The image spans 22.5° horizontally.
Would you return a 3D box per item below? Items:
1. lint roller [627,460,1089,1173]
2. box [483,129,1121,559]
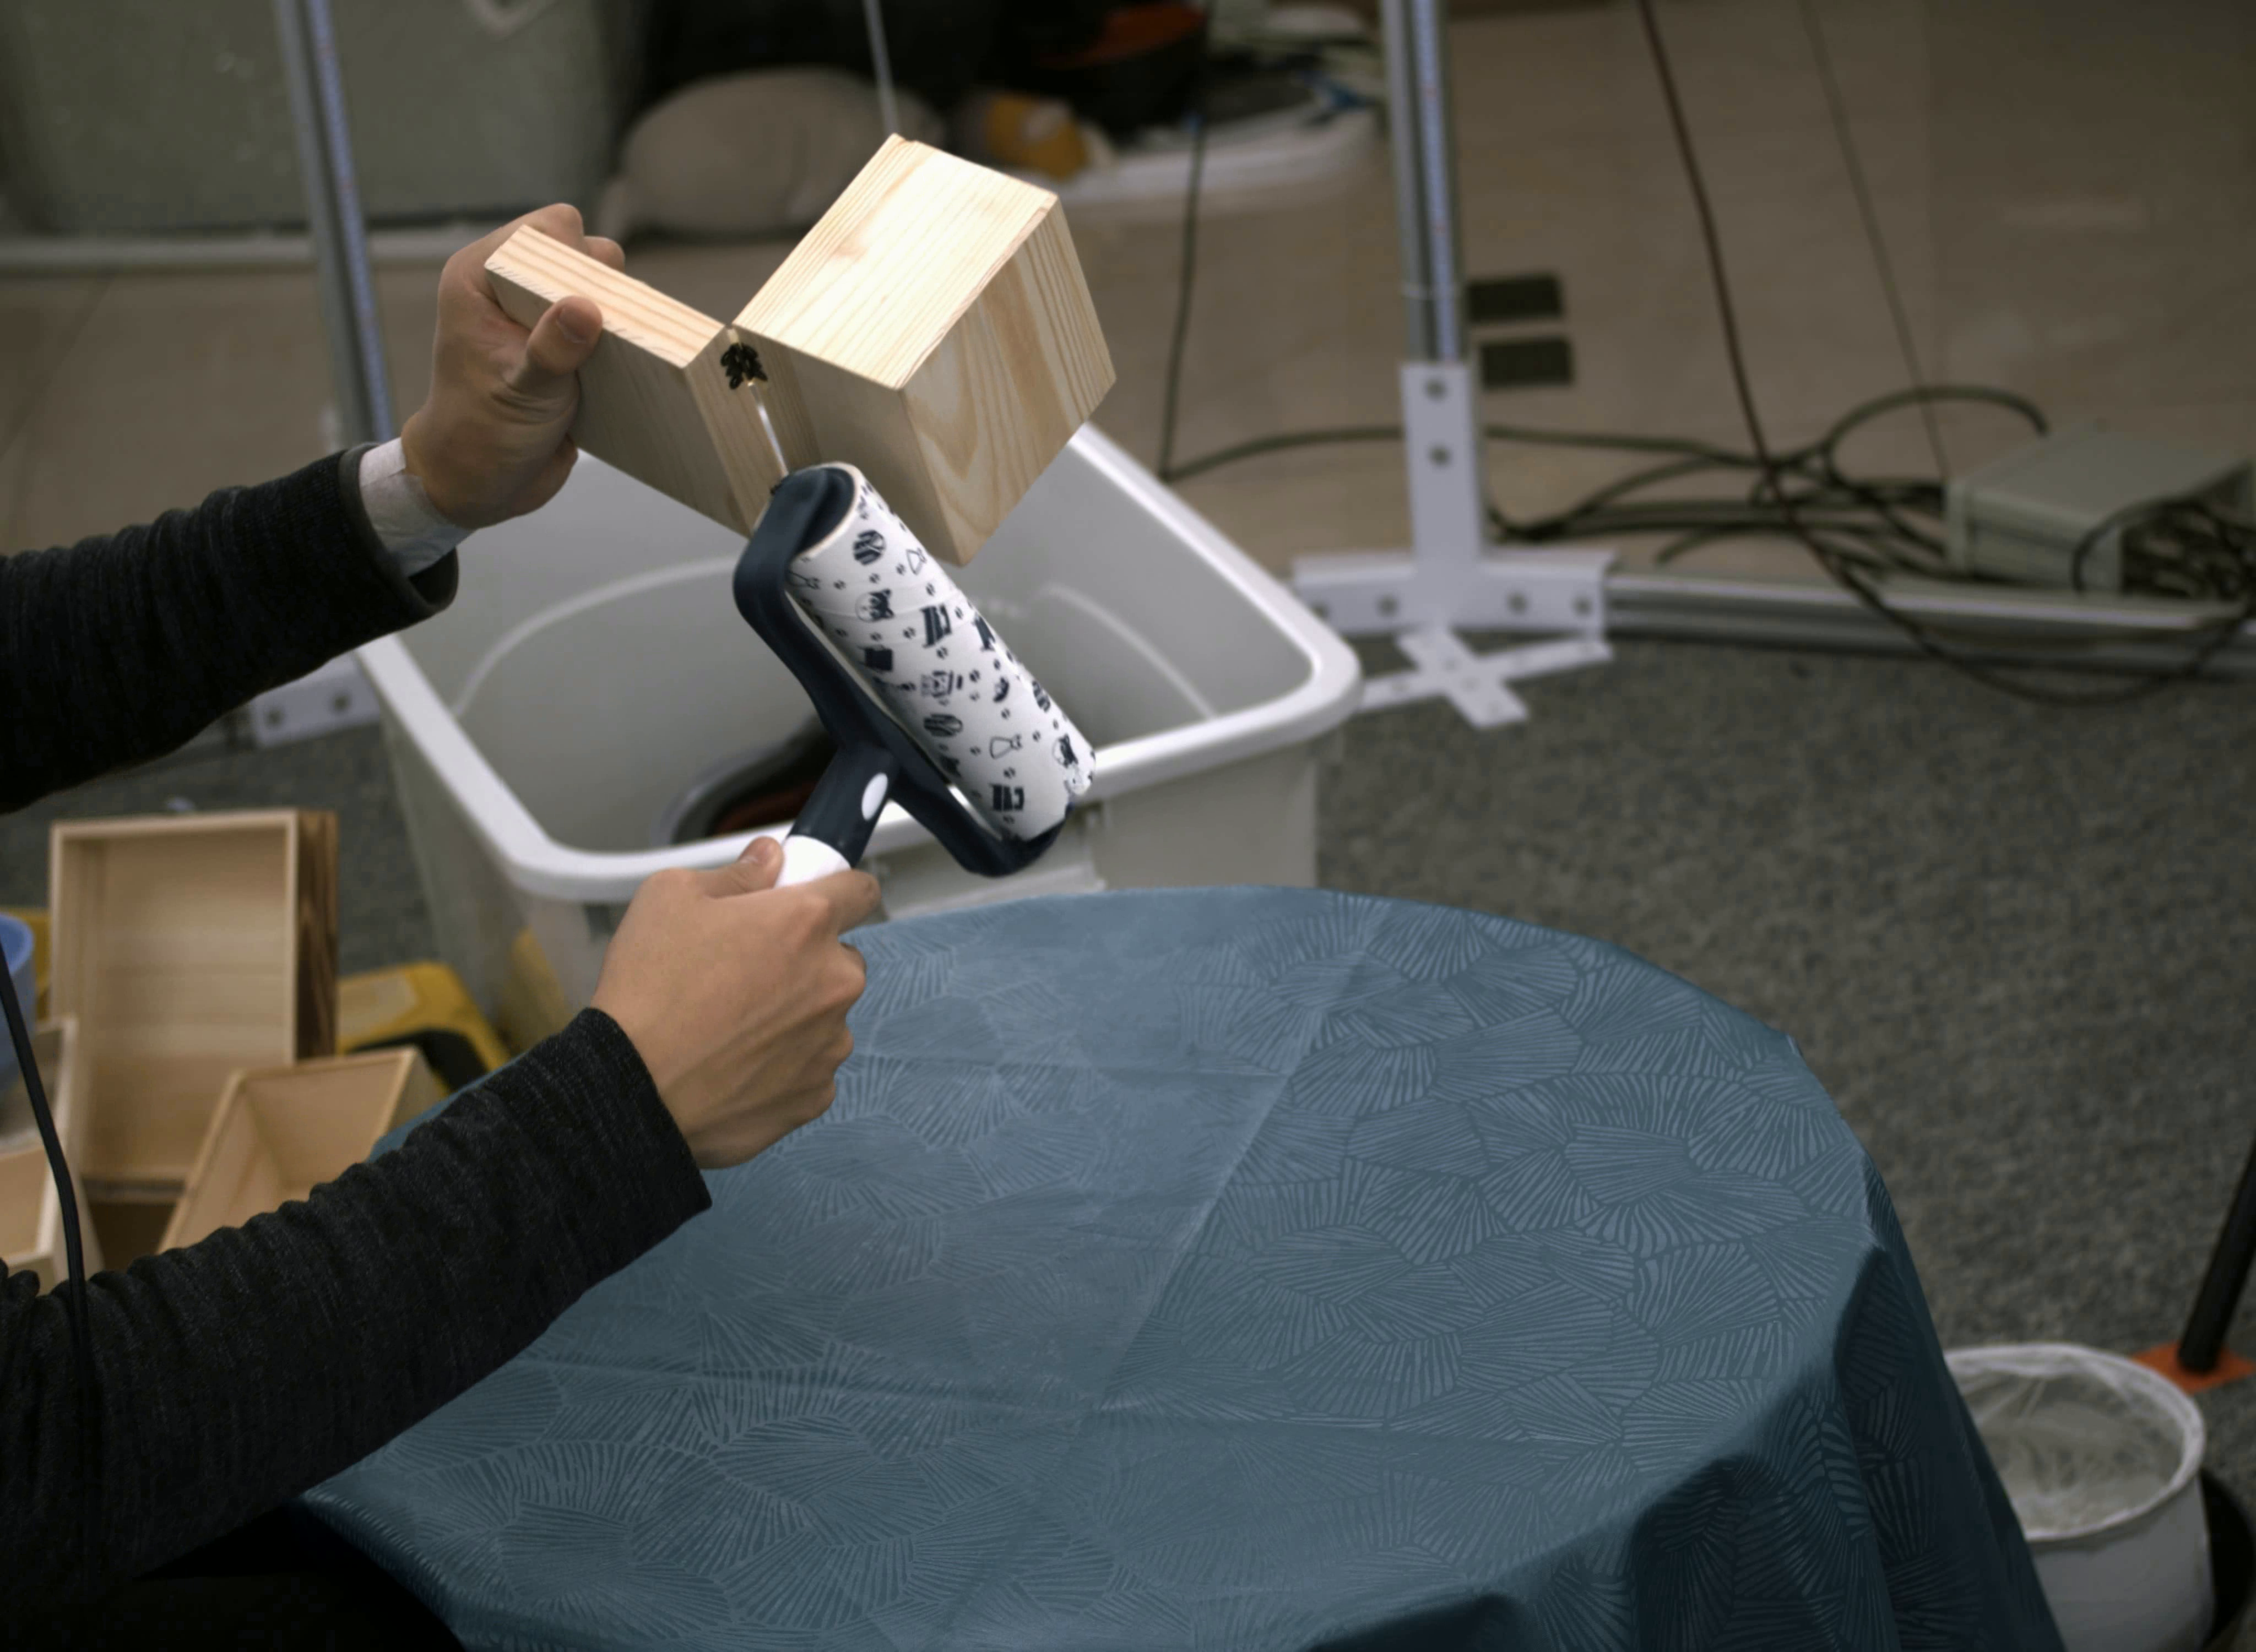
[{"bbox_3d":[-0.109,0.017,1.987,0.050,0.179,0.244,1,55,38],"label":"lint roller"},{"bbox_3d":[-0.119,-0.187,2.072,0.183,0.104,0.132,23,64,28],"label":"box"}]
